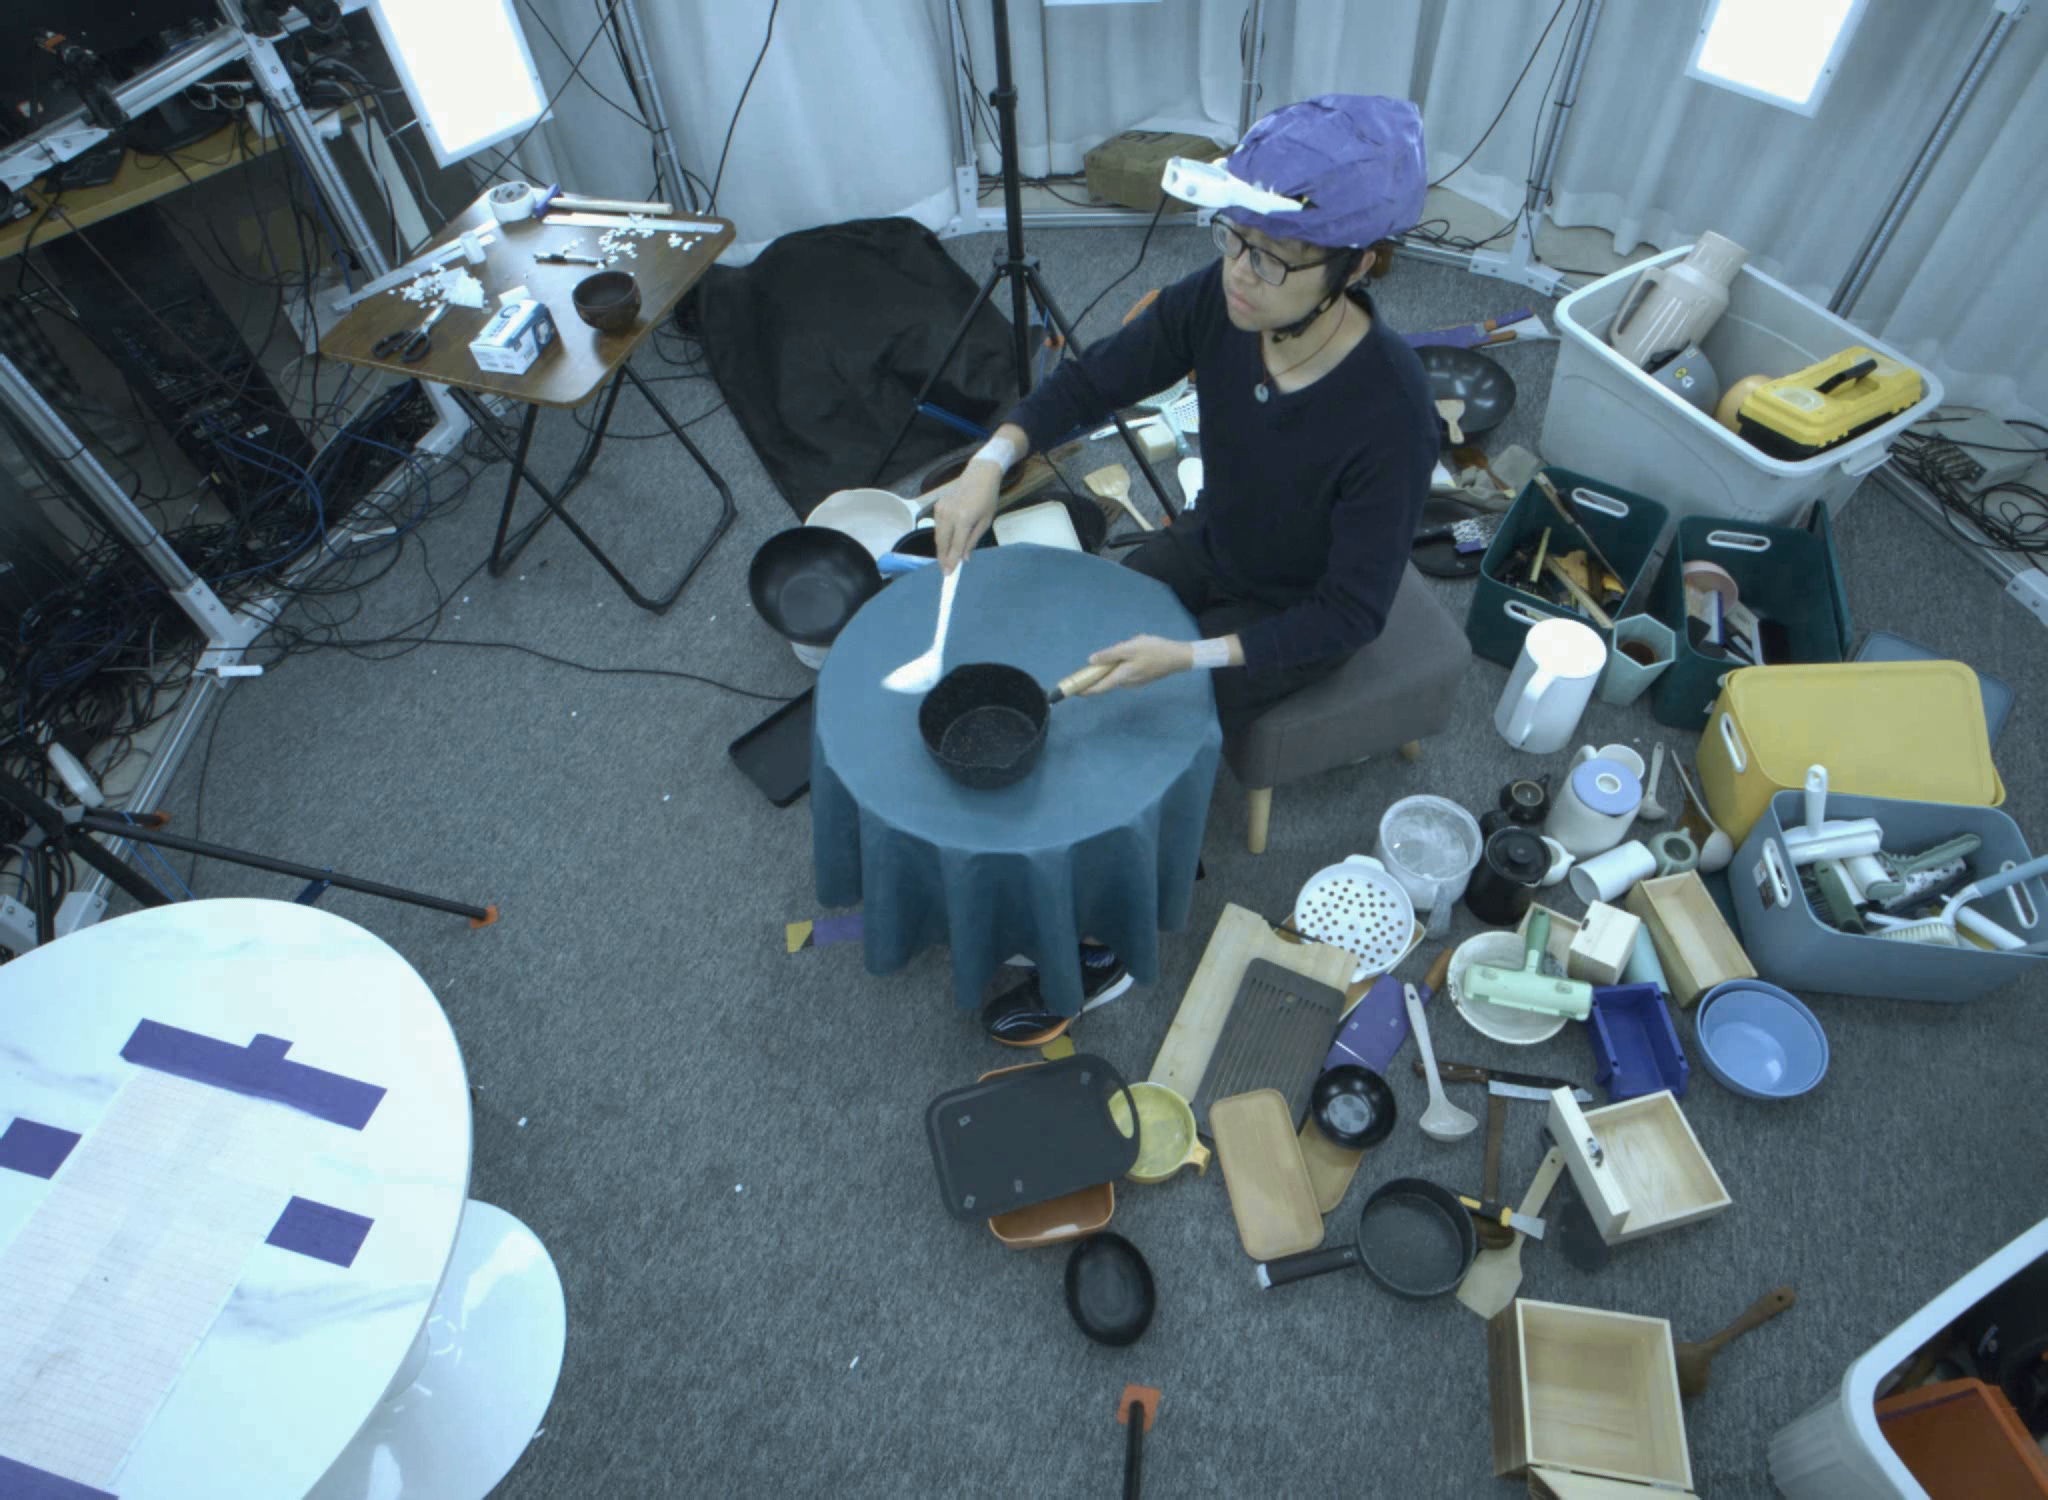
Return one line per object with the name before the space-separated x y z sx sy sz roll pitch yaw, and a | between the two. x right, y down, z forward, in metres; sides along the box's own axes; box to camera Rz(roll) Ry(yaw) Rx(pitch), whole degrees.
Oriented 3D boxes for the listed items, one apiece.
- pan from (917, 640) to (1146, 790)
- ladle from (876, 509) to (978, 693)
pan | 0.017 -0.064 1.759 0.344 0.109 0.203 -22 55 -9
ladle | -0.135 -0.213 1.736 0.071 0.088 0.292 22 77 -32
